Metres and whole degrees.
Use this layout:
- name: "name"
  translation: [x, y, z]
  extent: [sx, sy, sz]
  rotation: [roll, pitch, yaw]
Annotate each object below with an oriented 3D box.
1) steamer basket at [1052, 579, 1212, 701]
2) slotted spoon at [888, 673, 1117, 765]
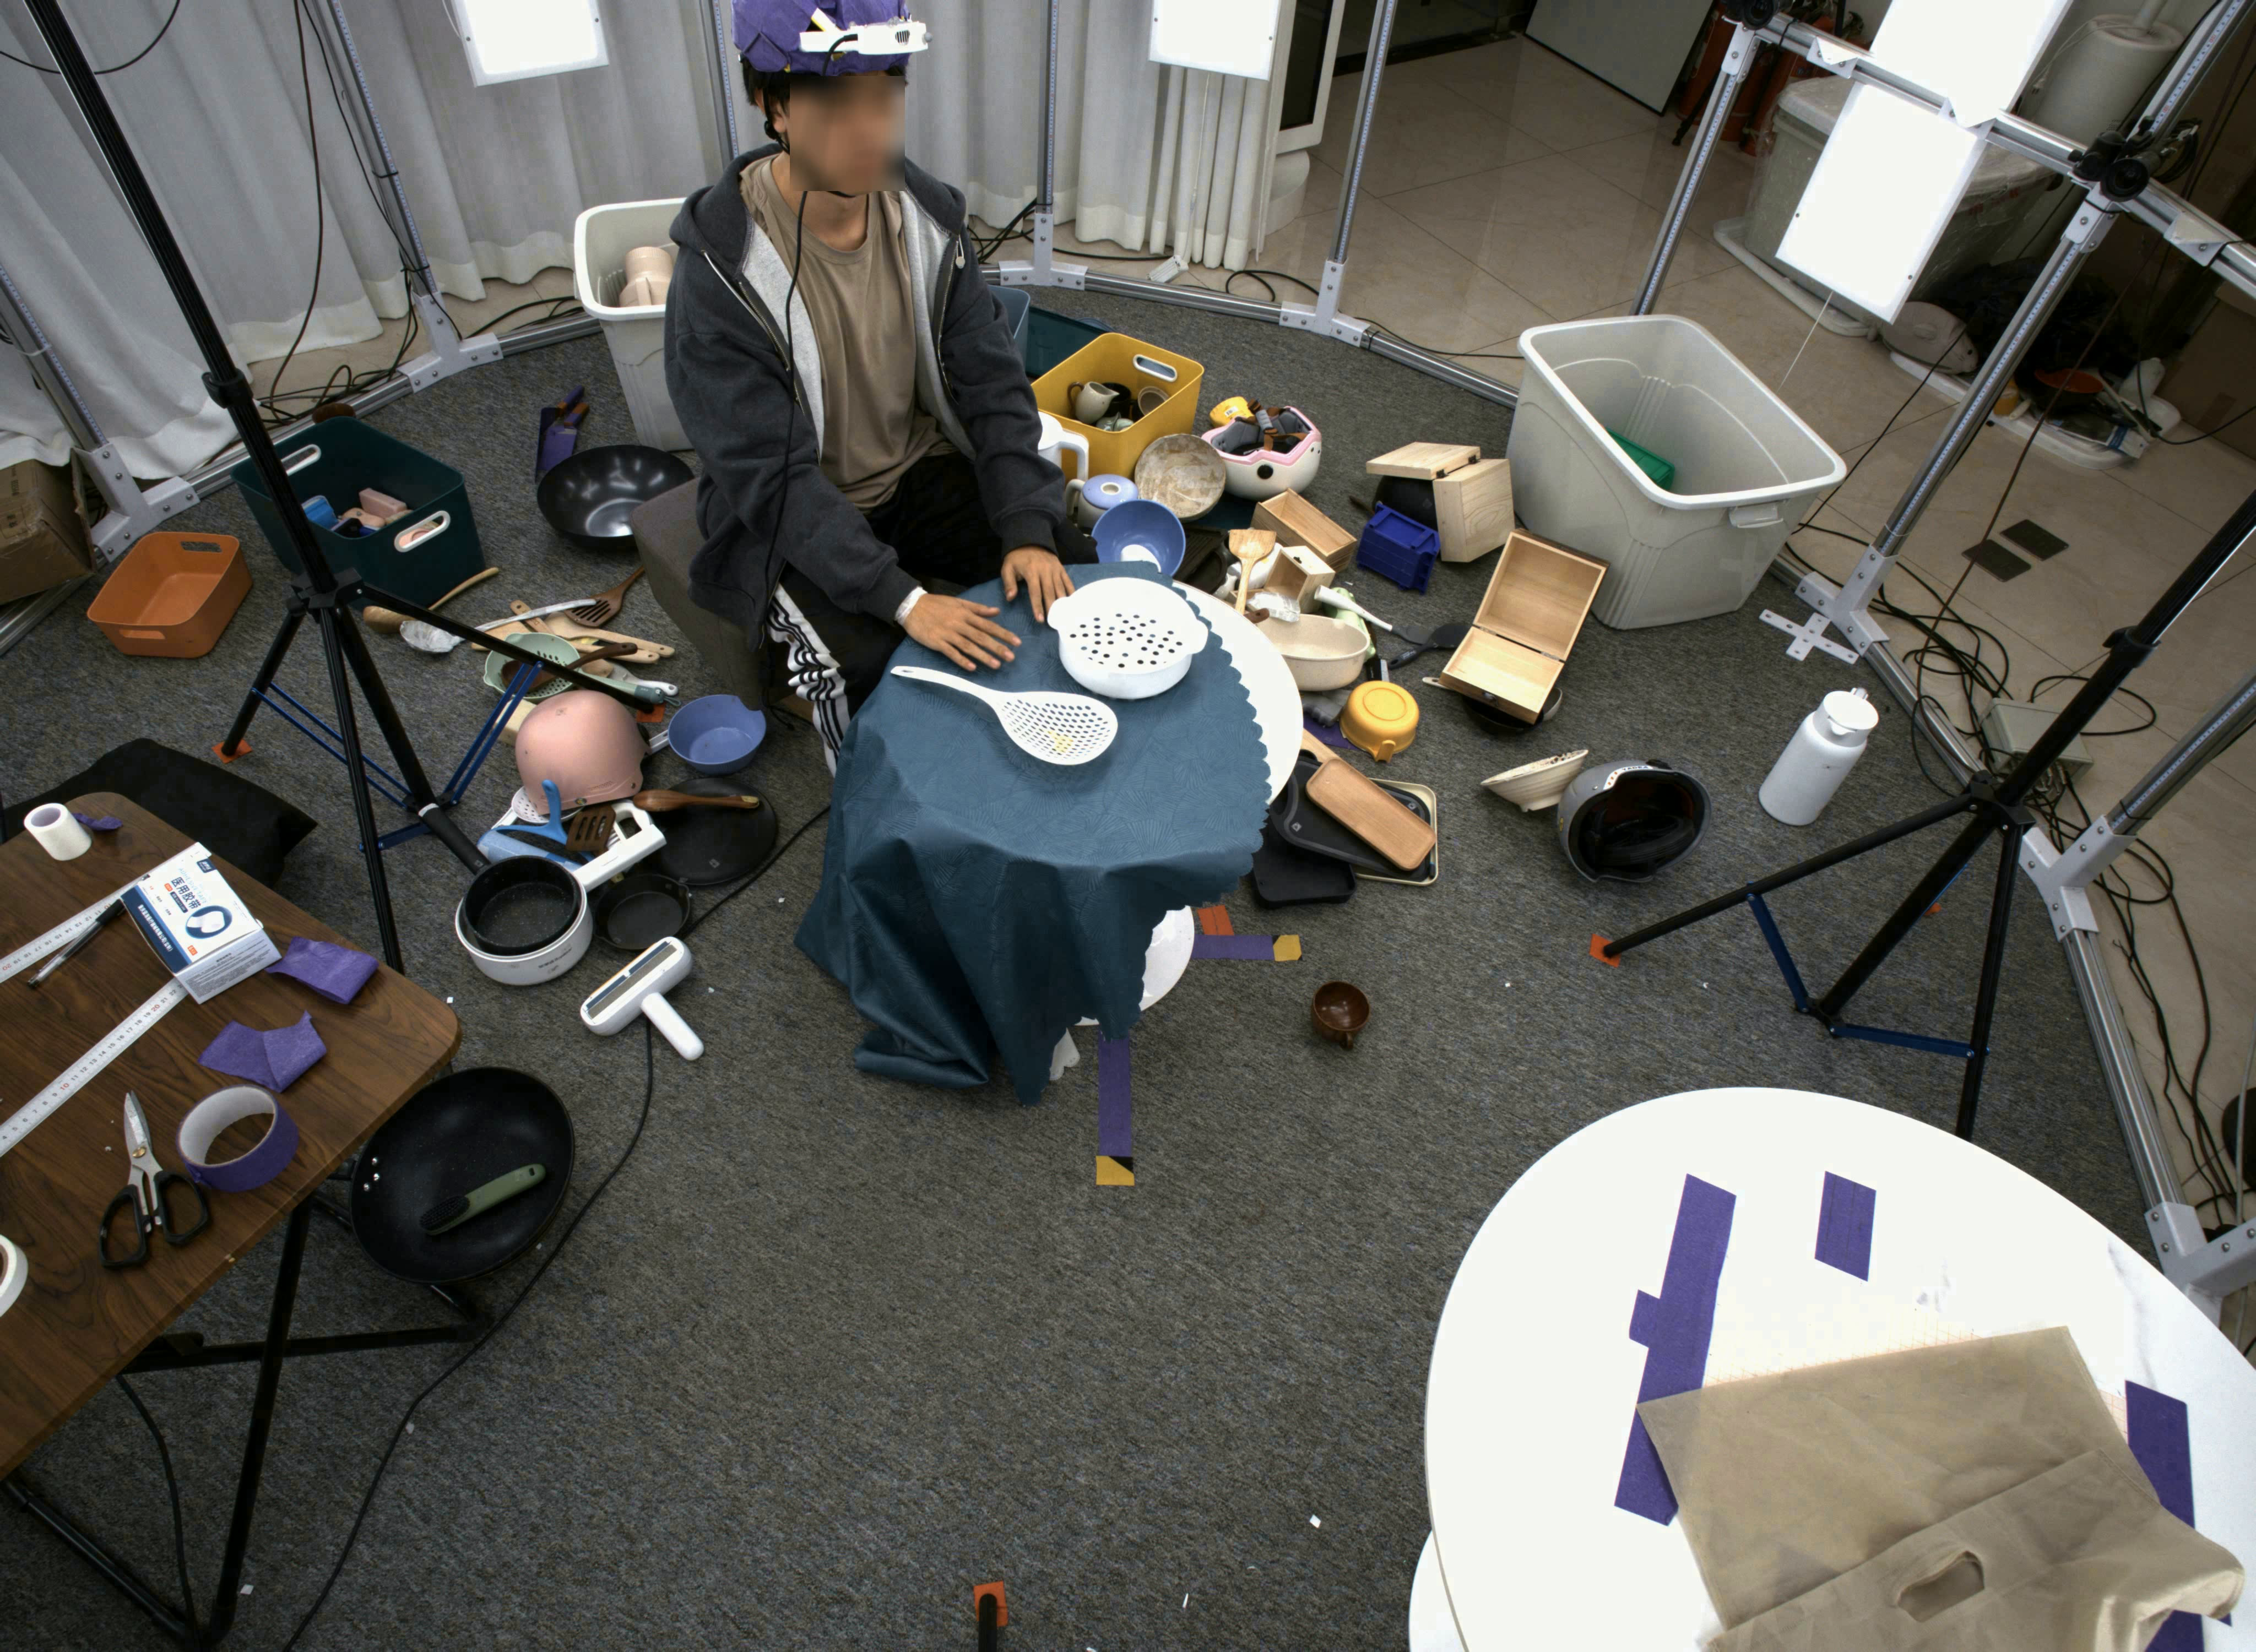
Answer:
- name: "steamer basket"
  translation: [0.003, -0.269, 1.857]
  extent: [0.231, 0.067, 0.206]
  rotation: [12, 48, 4]
- name: "slotted spoon"
  translation: [-0.180, -0.166, 1.772]
  extent: [0.350, 0.049, 0.139]
  rotation: [23, 54, 16]
